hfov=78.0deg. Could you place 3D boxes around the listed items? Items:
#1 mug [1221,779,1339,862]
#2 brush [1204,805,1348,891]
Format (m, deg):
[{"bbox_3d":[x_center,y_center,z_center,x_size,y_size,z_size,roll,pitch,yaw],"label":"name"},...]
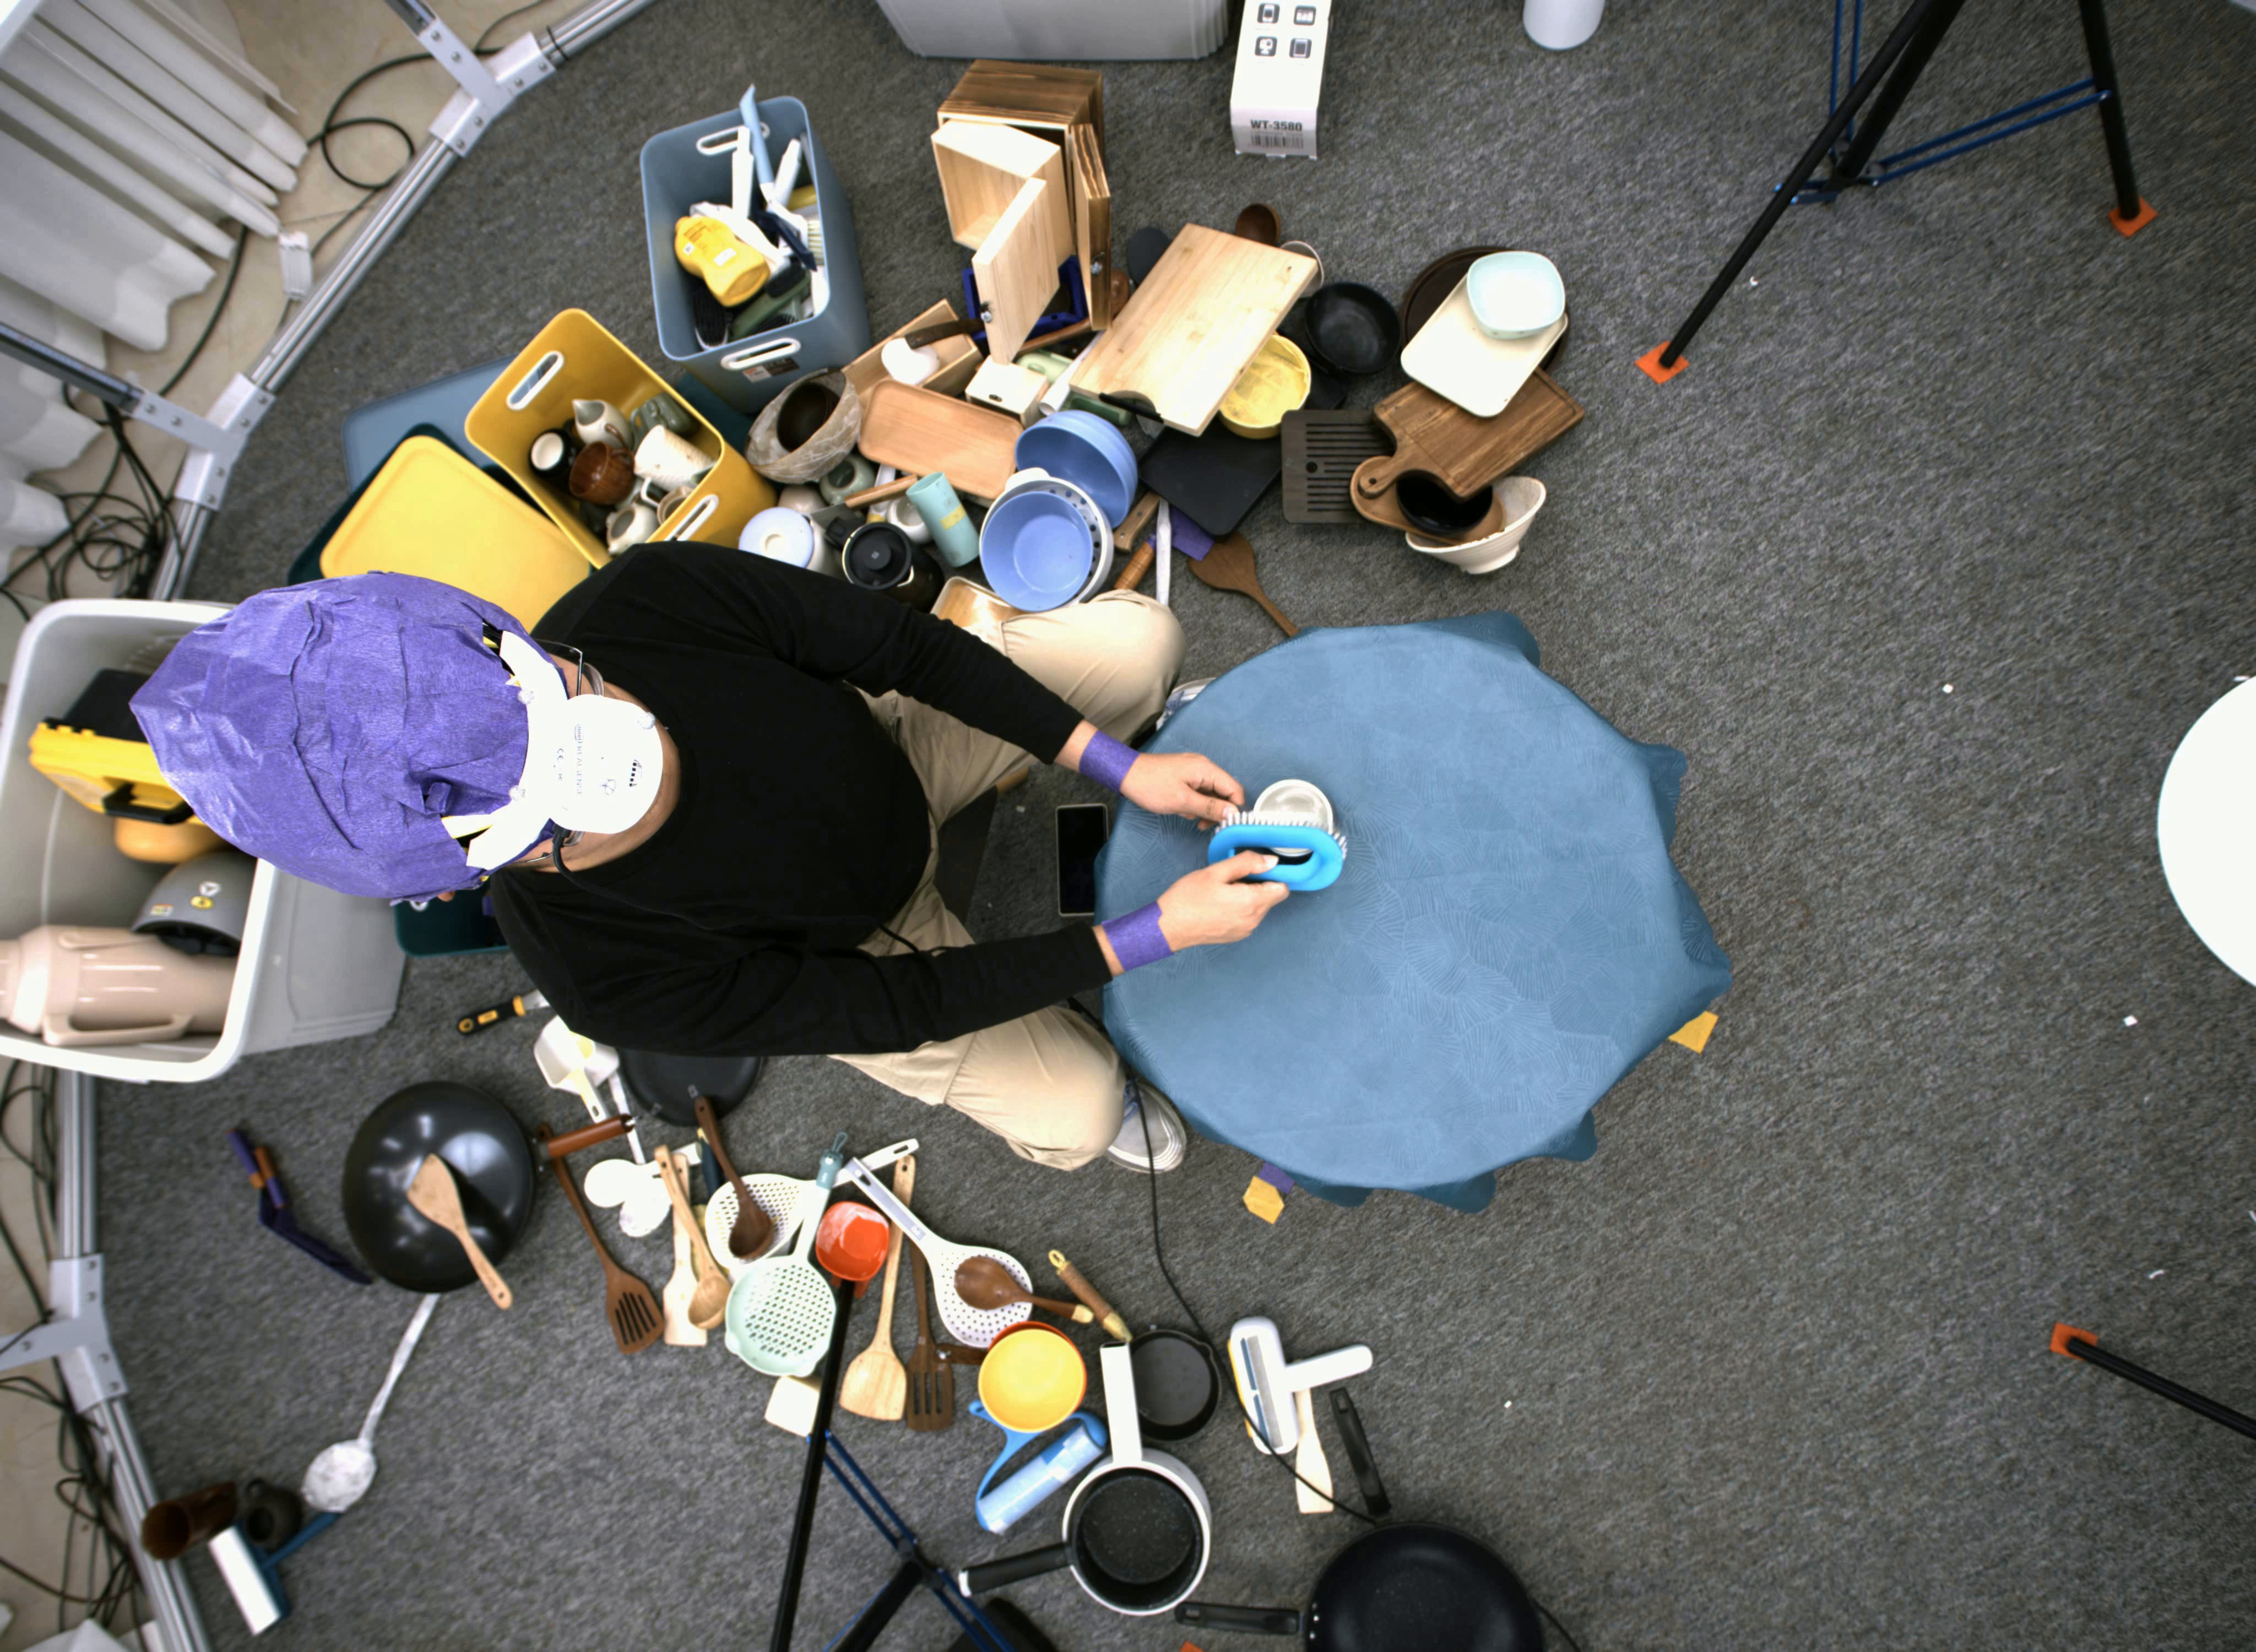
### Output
[{"bbox_3d":[0.157,-0.008,1.436,0.123,0.090,0.093,9,86,9],"label":"mug"},{"bbox_3d":[0.146,0.030,1.385,0.142,0.062,0.086,4,126,14],"label":"brush"}]
